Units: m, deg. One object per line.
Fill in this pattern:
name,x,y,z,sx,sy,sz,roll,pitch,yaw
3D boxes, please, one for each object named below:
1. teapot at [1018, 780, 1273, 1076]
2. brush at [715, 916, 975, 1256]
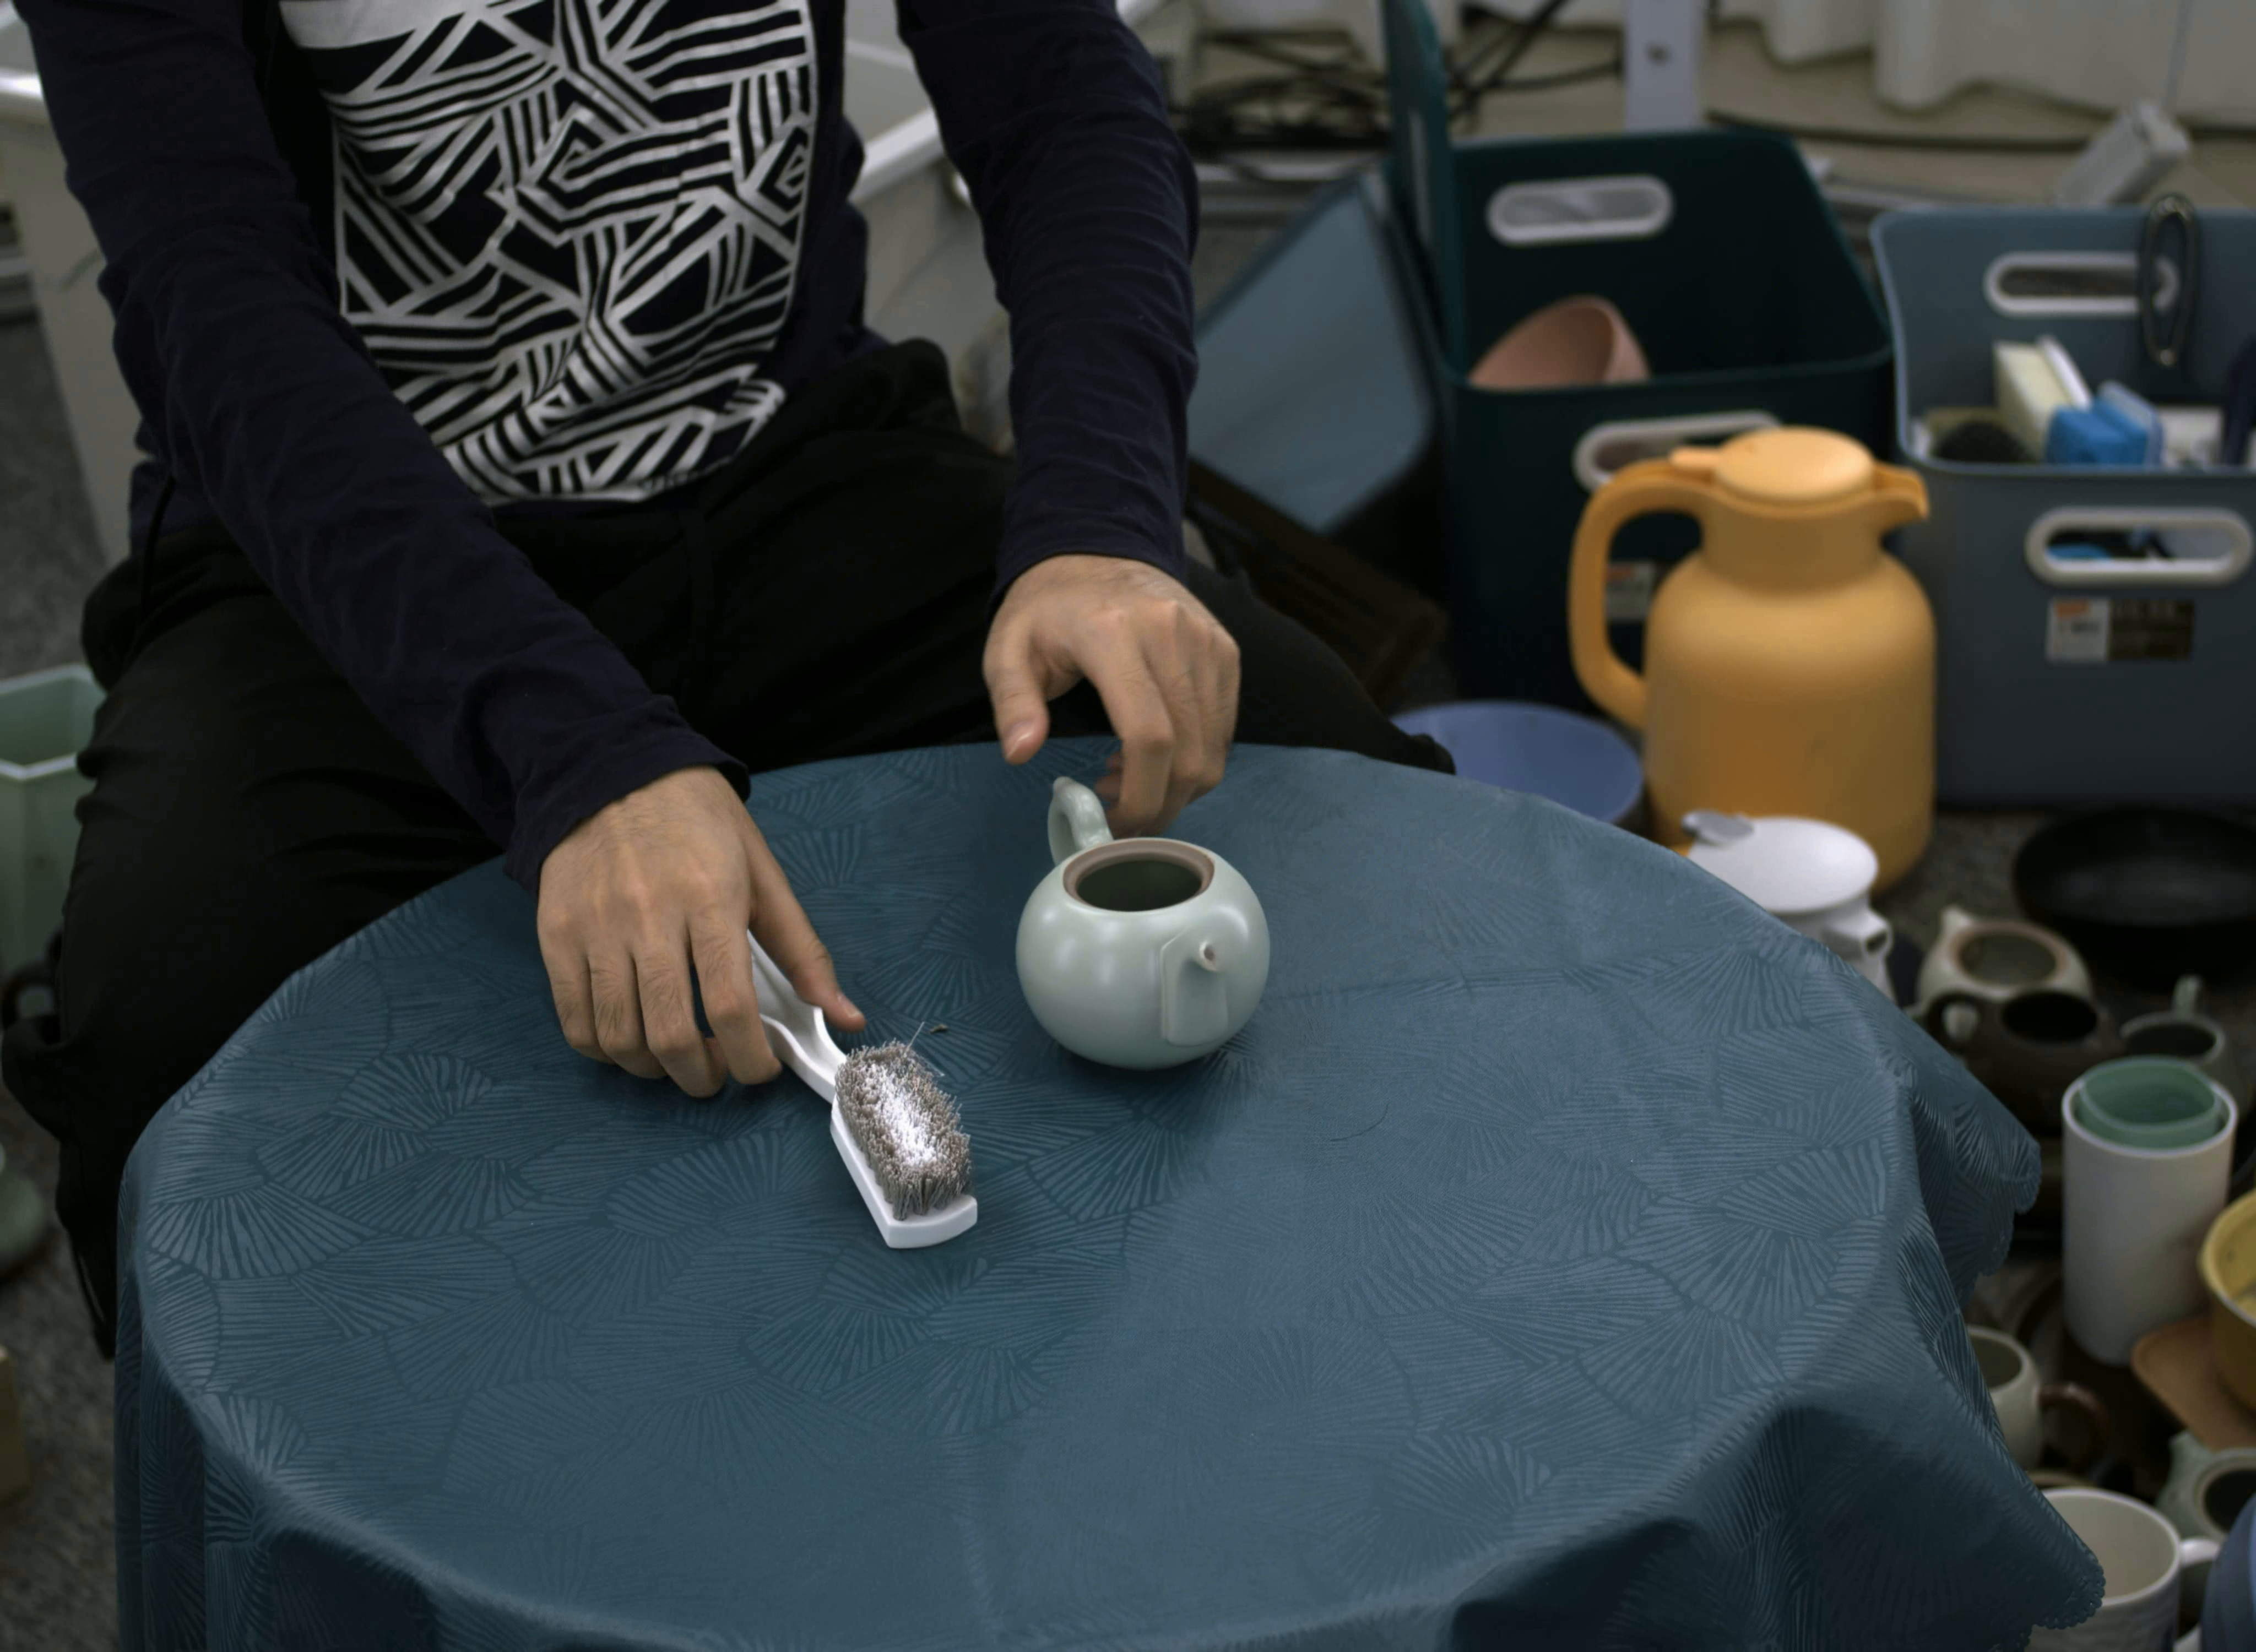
teapot,0.006,0.044,1.933,0.088,0.074,0.145,-13,30,-16
brush,-0.103,0.071,1.916,0.034,0.049,0.246,-16,30,-13
